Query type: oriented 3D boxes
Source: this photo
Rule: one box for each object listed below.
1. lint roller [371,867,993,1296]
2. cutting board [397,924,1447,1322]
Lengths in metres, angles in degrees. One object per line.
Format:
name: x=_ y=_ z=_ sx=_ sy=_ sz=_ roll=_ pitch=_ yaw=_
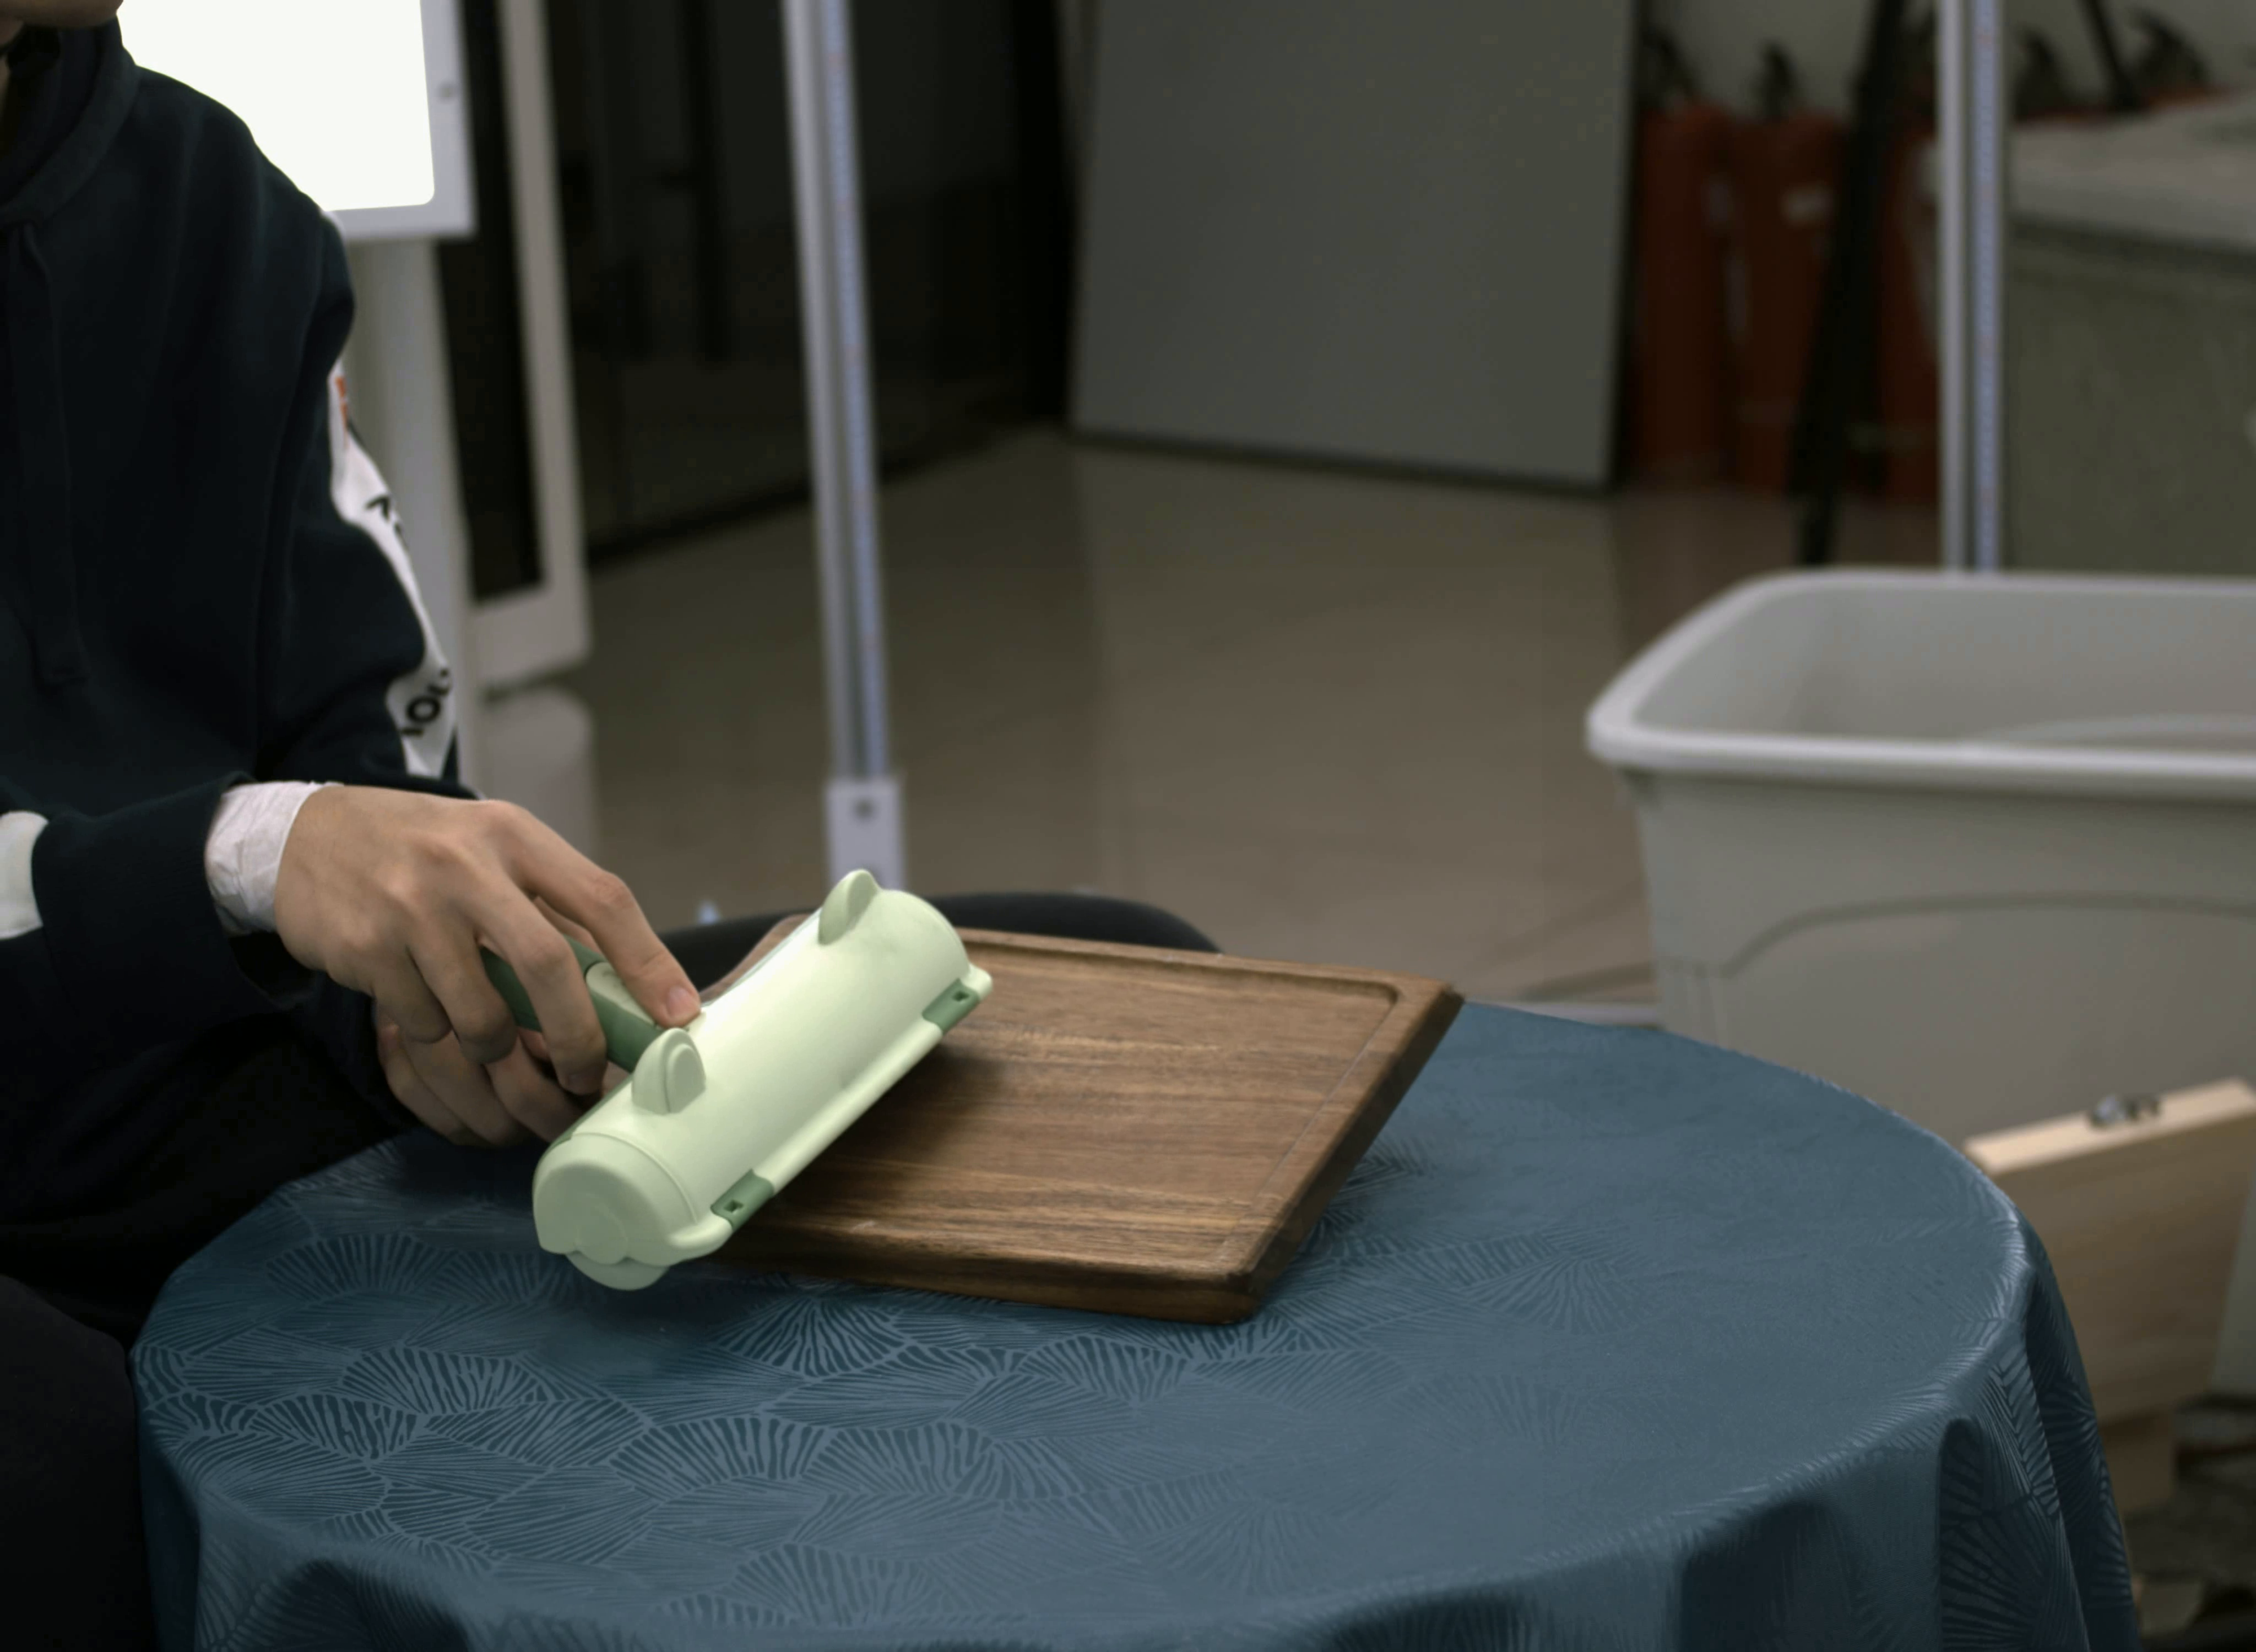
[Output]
lint roller: x=-0.161 y=0.049 z=1.734 sx=0.183 sy=0.083 sz=0.196 roll=30 pitch=37 yaw=14
cutting board: x=-0.085 y=0.089 z=1.781 sx=0.352 sy=0.023 sz=0.199 roll=4 pitch=29 yaw=24
